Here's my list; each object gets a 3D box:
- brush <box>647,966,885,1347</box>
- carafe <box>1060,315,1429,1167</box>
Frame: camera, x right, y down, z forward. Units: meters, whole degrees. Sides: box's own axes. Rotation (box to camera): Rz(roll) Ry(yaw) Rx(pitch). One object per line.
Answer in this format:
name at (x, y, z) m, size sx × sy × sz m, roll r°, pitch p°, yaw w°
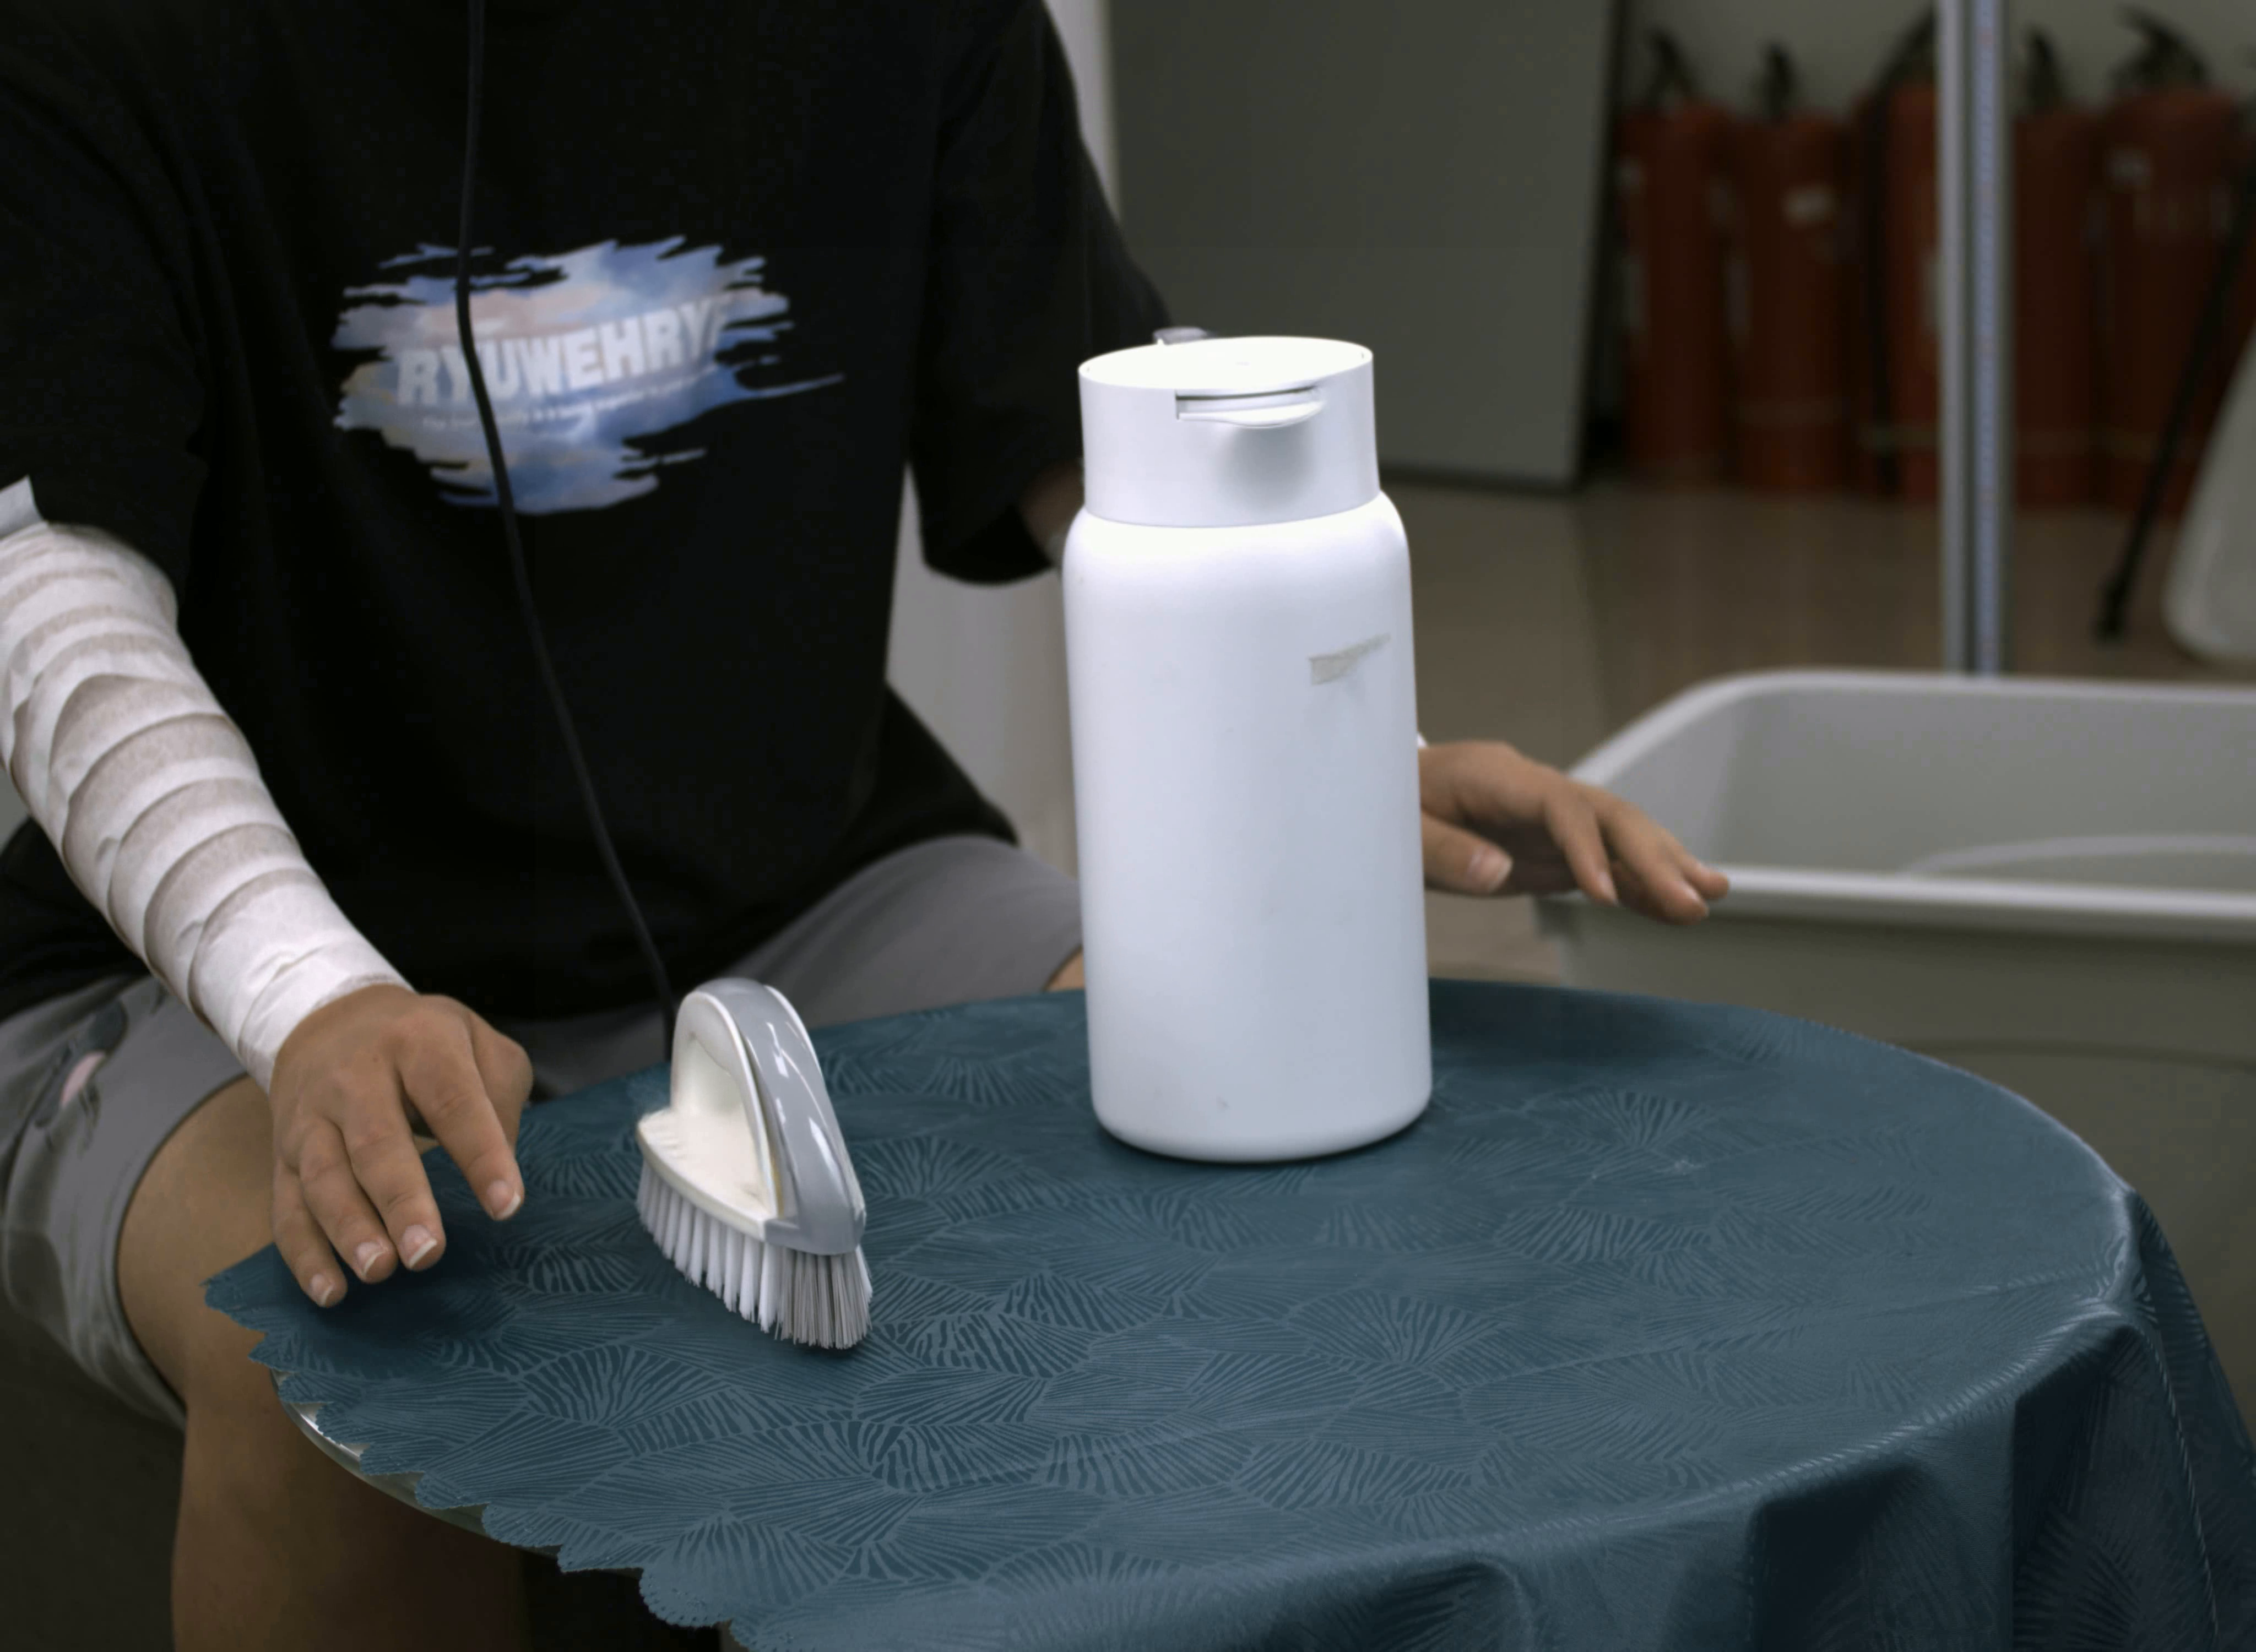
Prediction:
brush at (-0.111, 0.099, 1.702) m, size 0.060 × 0.095 × 0.177 m, roll -9°, pitch 16°, yaw -15°
carafe at (0.033, -0.032, 1.825) m, size 0.121 × 0.272 × 0.174 m, roll -8°, pitch 13°, yaw -12°
